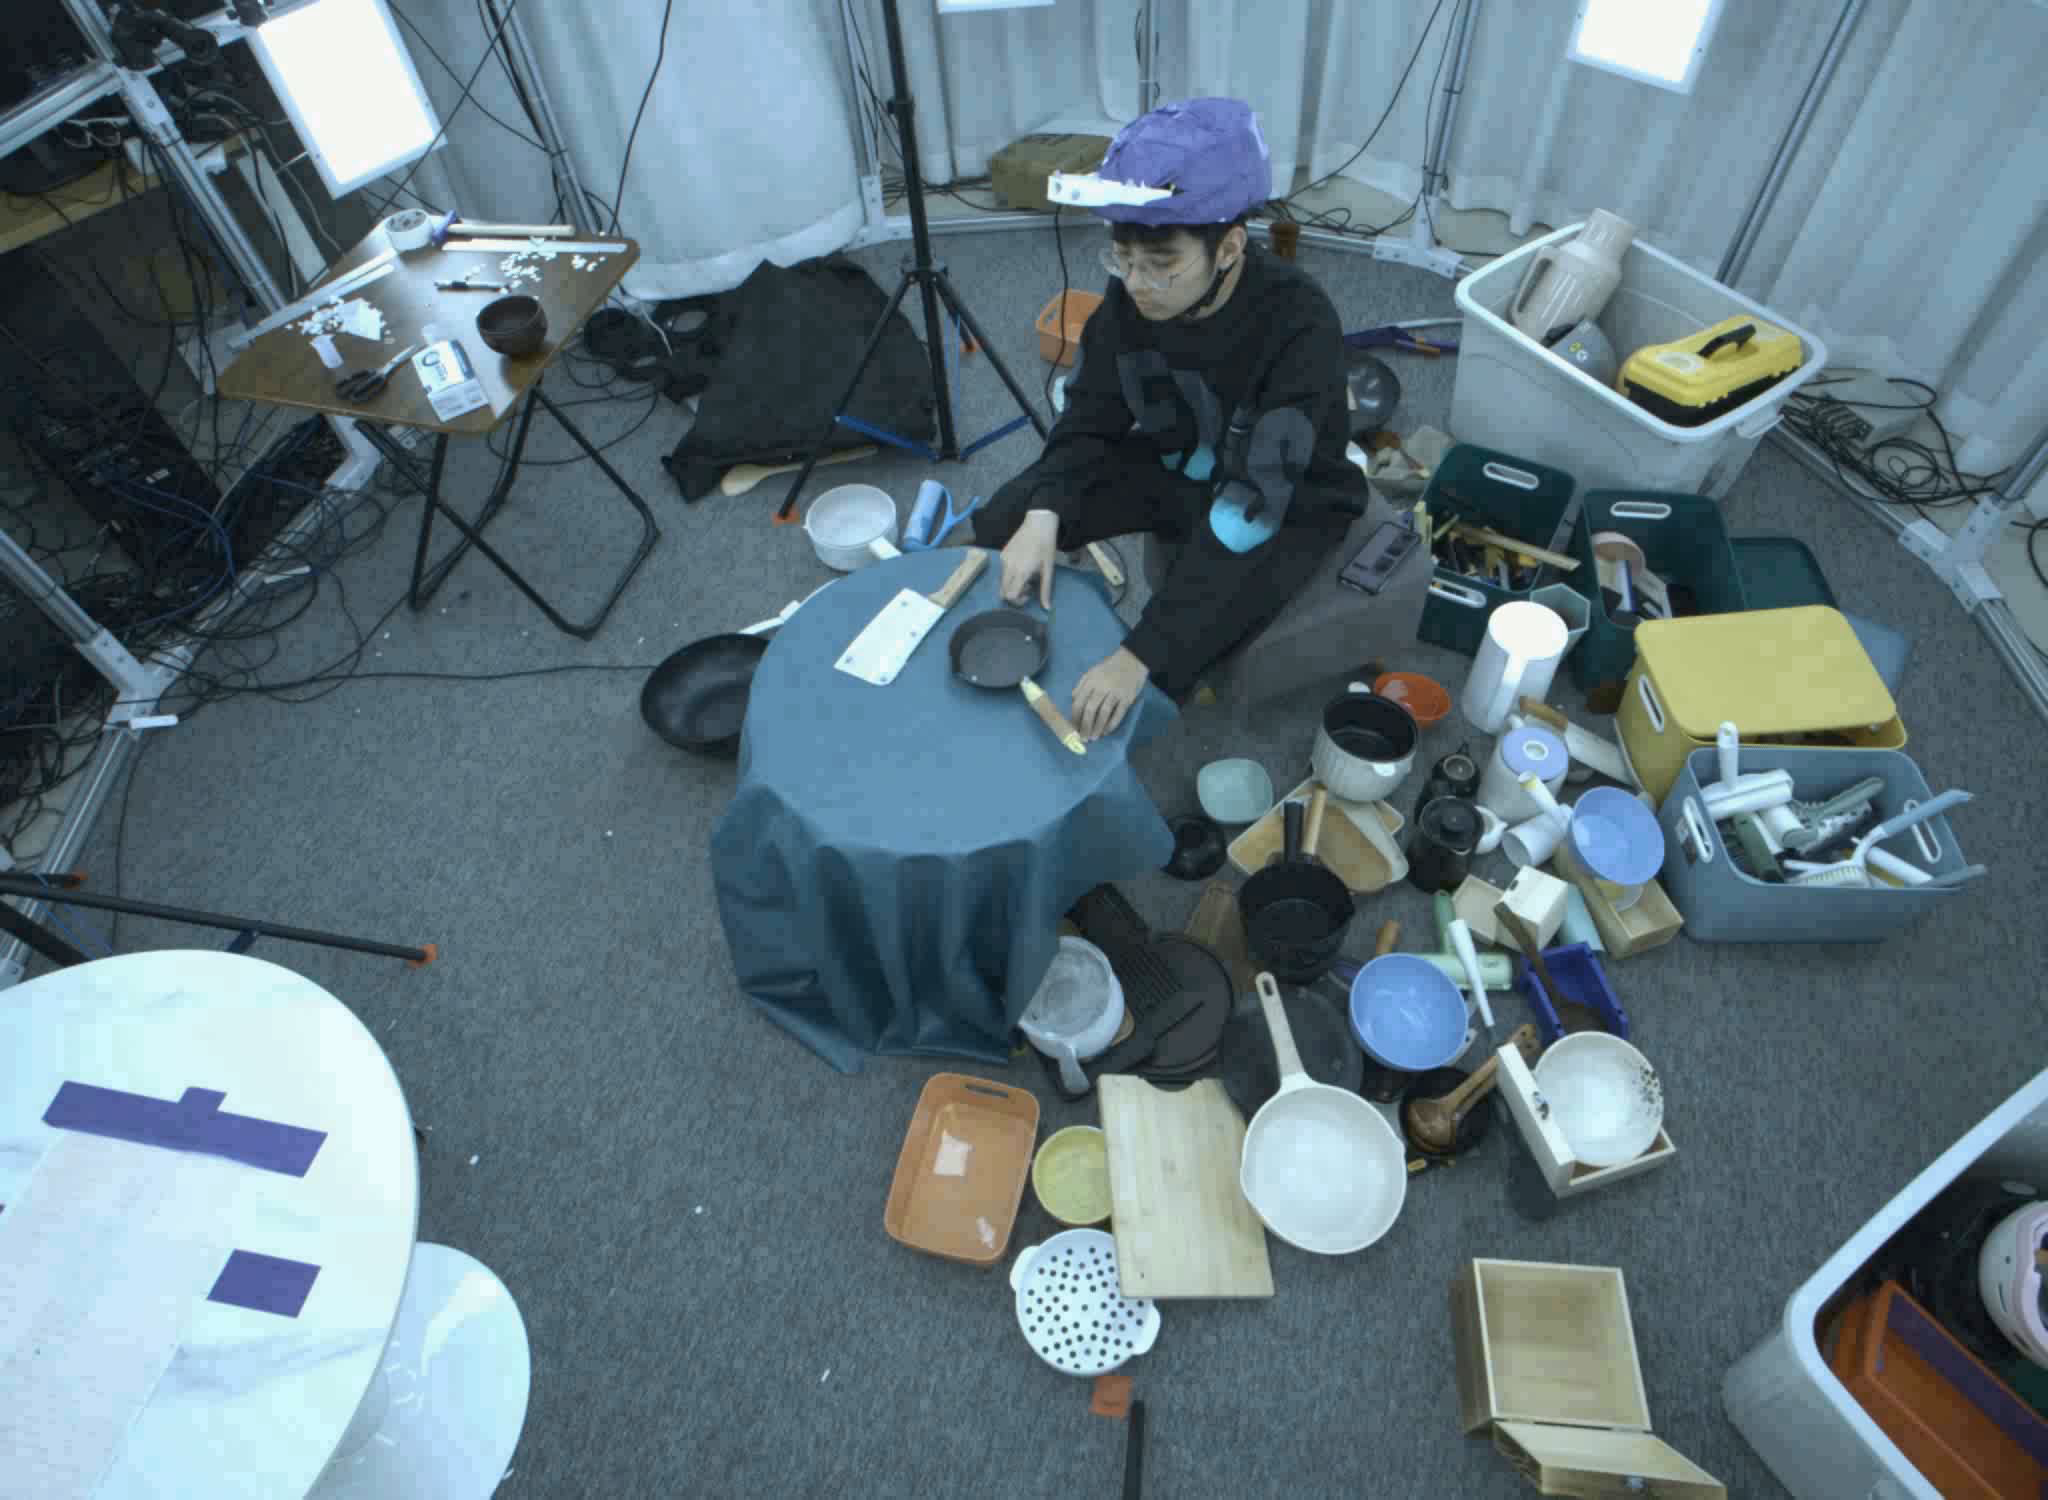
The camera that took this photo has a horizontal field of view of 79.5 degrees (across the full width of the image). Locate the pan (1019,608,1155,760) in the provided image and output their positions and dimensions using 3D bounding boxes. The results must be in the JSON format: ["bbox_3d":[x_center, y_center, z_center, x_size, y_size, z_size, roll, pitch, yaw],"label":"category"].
[{"bbox_3d":[0.107,-0.092,1.817,0.170,0.050,0.318,-21,55,-13],"label":"pan"}]

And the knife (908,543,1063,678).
[{"bbox_3d":[-0.049,-0.224,1.937,0.112,0.022,0.317,35,65,24],"label":"knife"}]
